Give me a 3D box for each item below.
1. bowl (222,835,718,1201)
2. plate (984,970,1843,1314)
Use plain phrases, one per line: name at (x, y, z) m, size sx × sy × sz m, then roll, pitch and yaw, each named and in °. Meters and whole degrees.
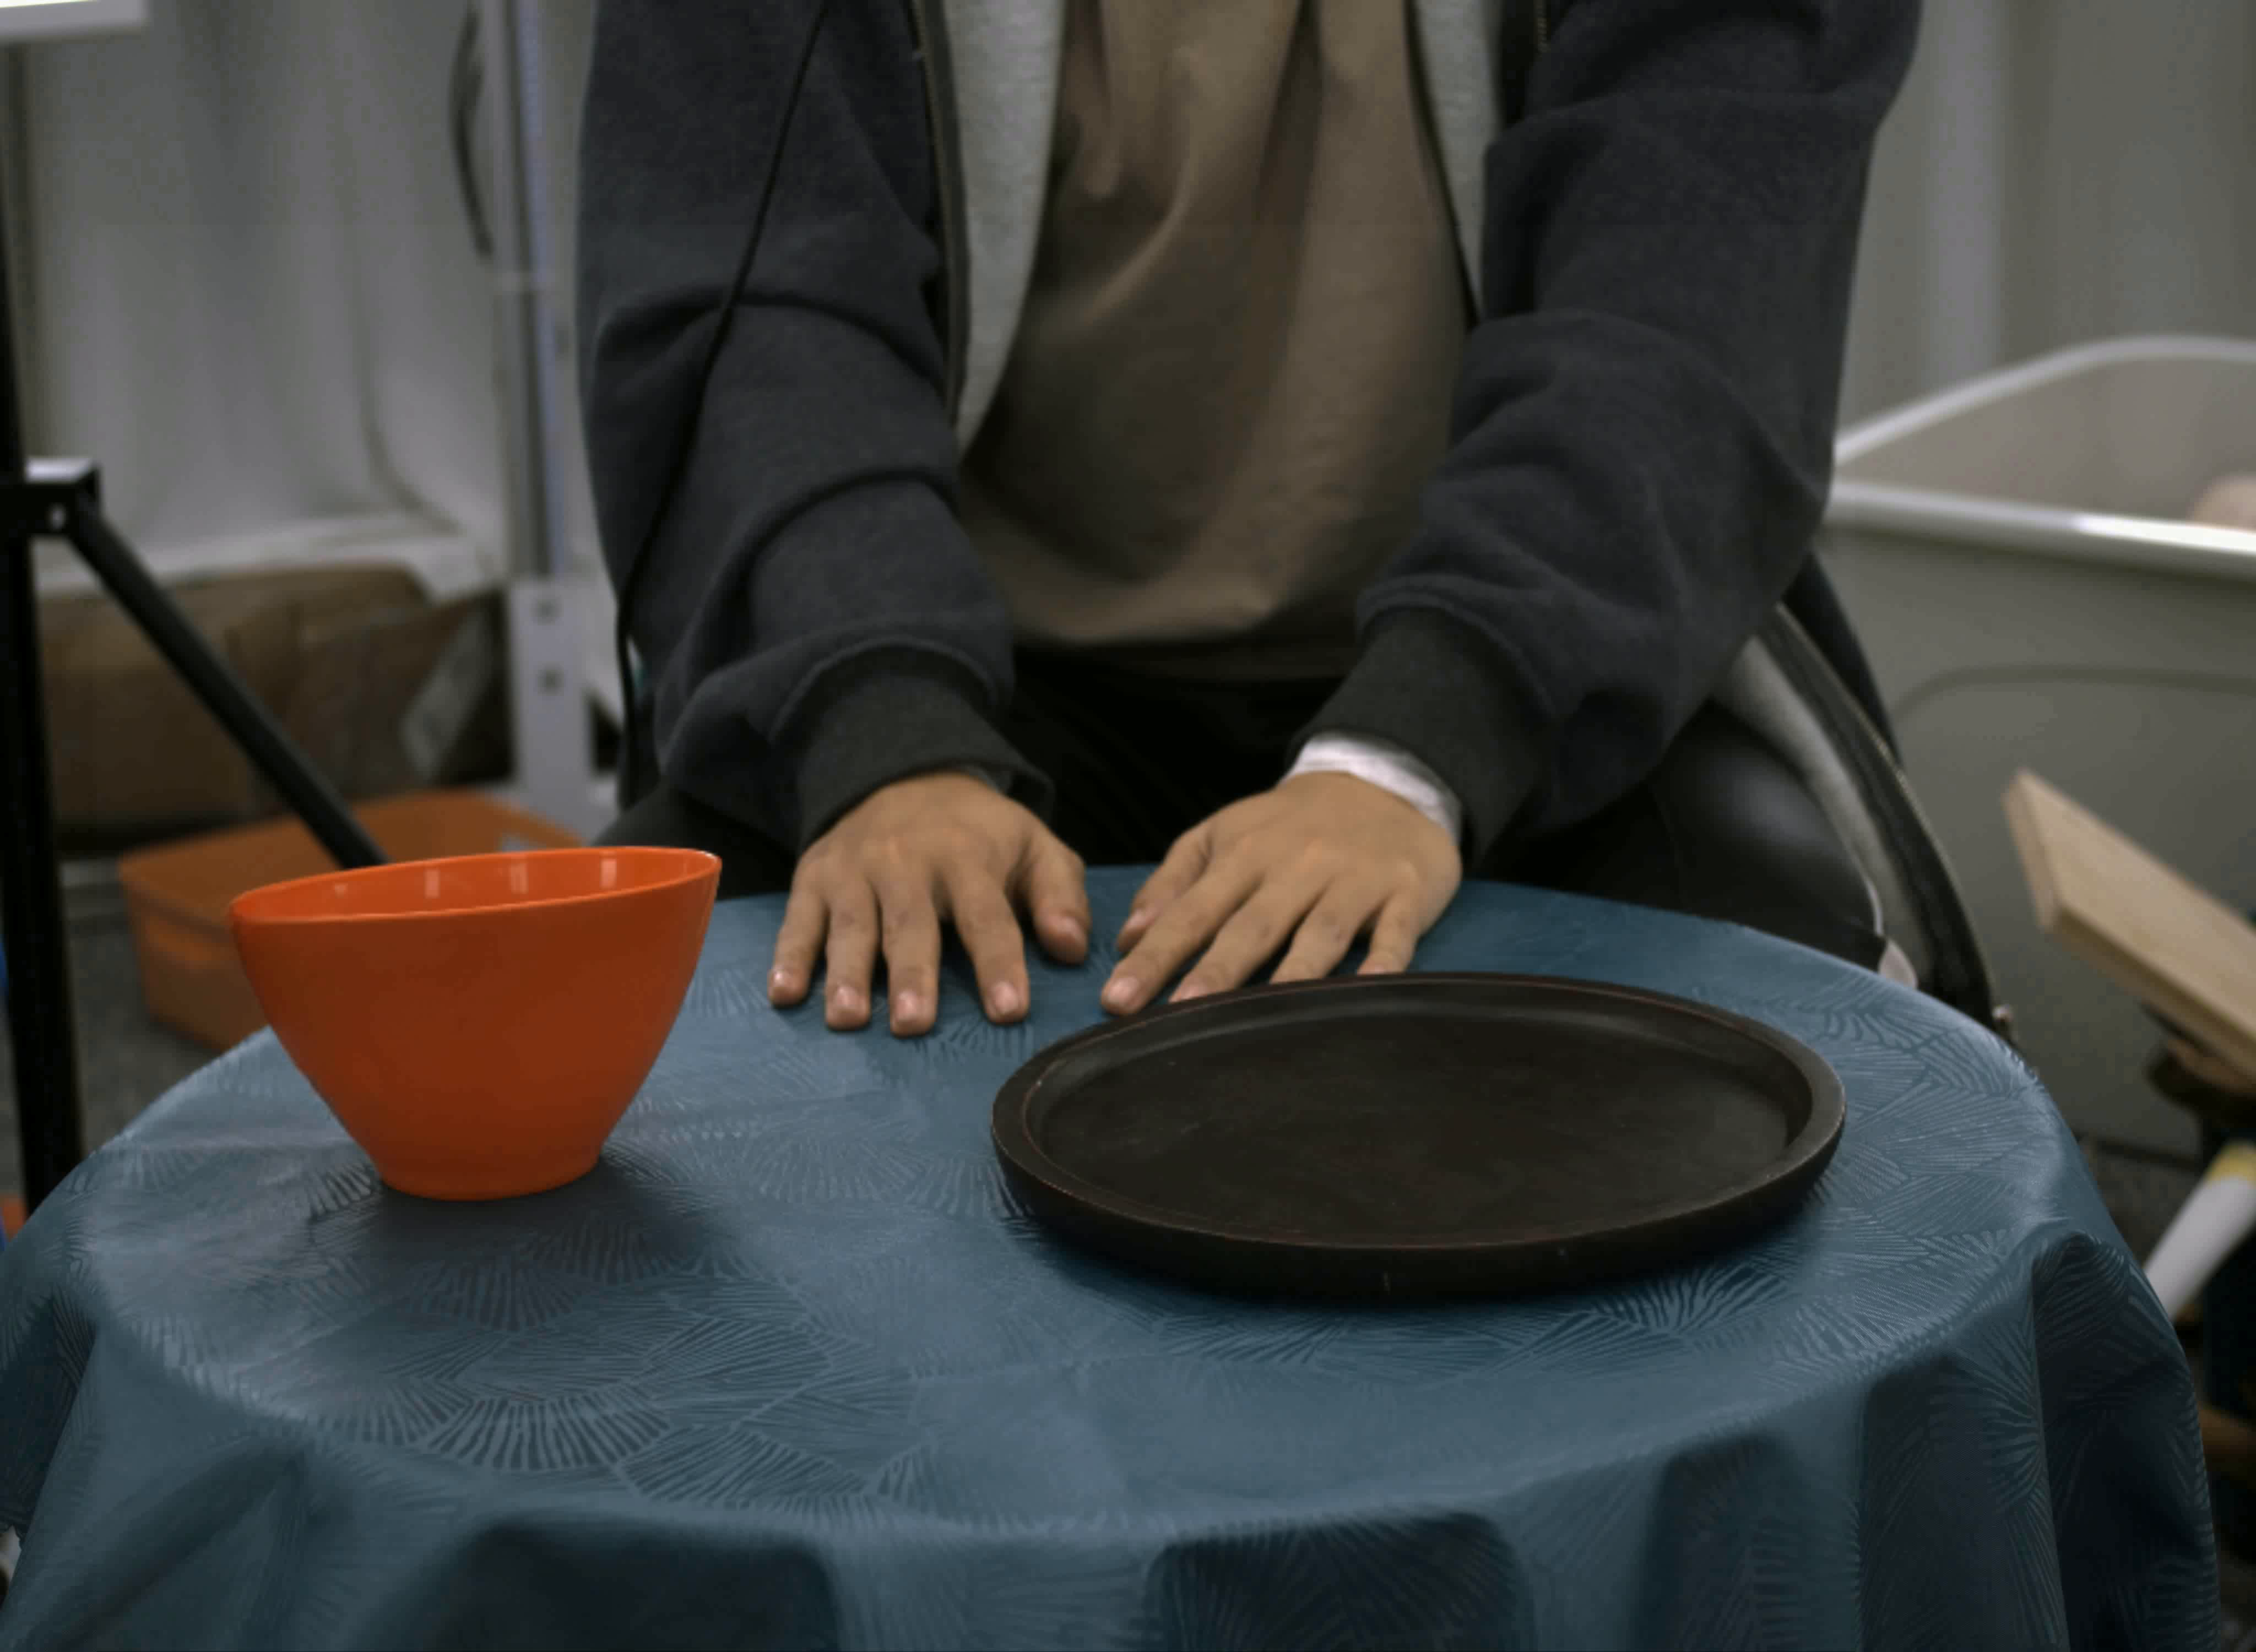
bowl at (-0.191, 0.056, 1.590) m, size 0.147 × 0.104 × 0.149 m, roll -5°, pitch 17°, yaw 0°
plate at (0.084, 0.091, 1.565) m, size 0.253 × 0.029 × 0.256 m, roll -4°, pitch 16°, yaw 0°
